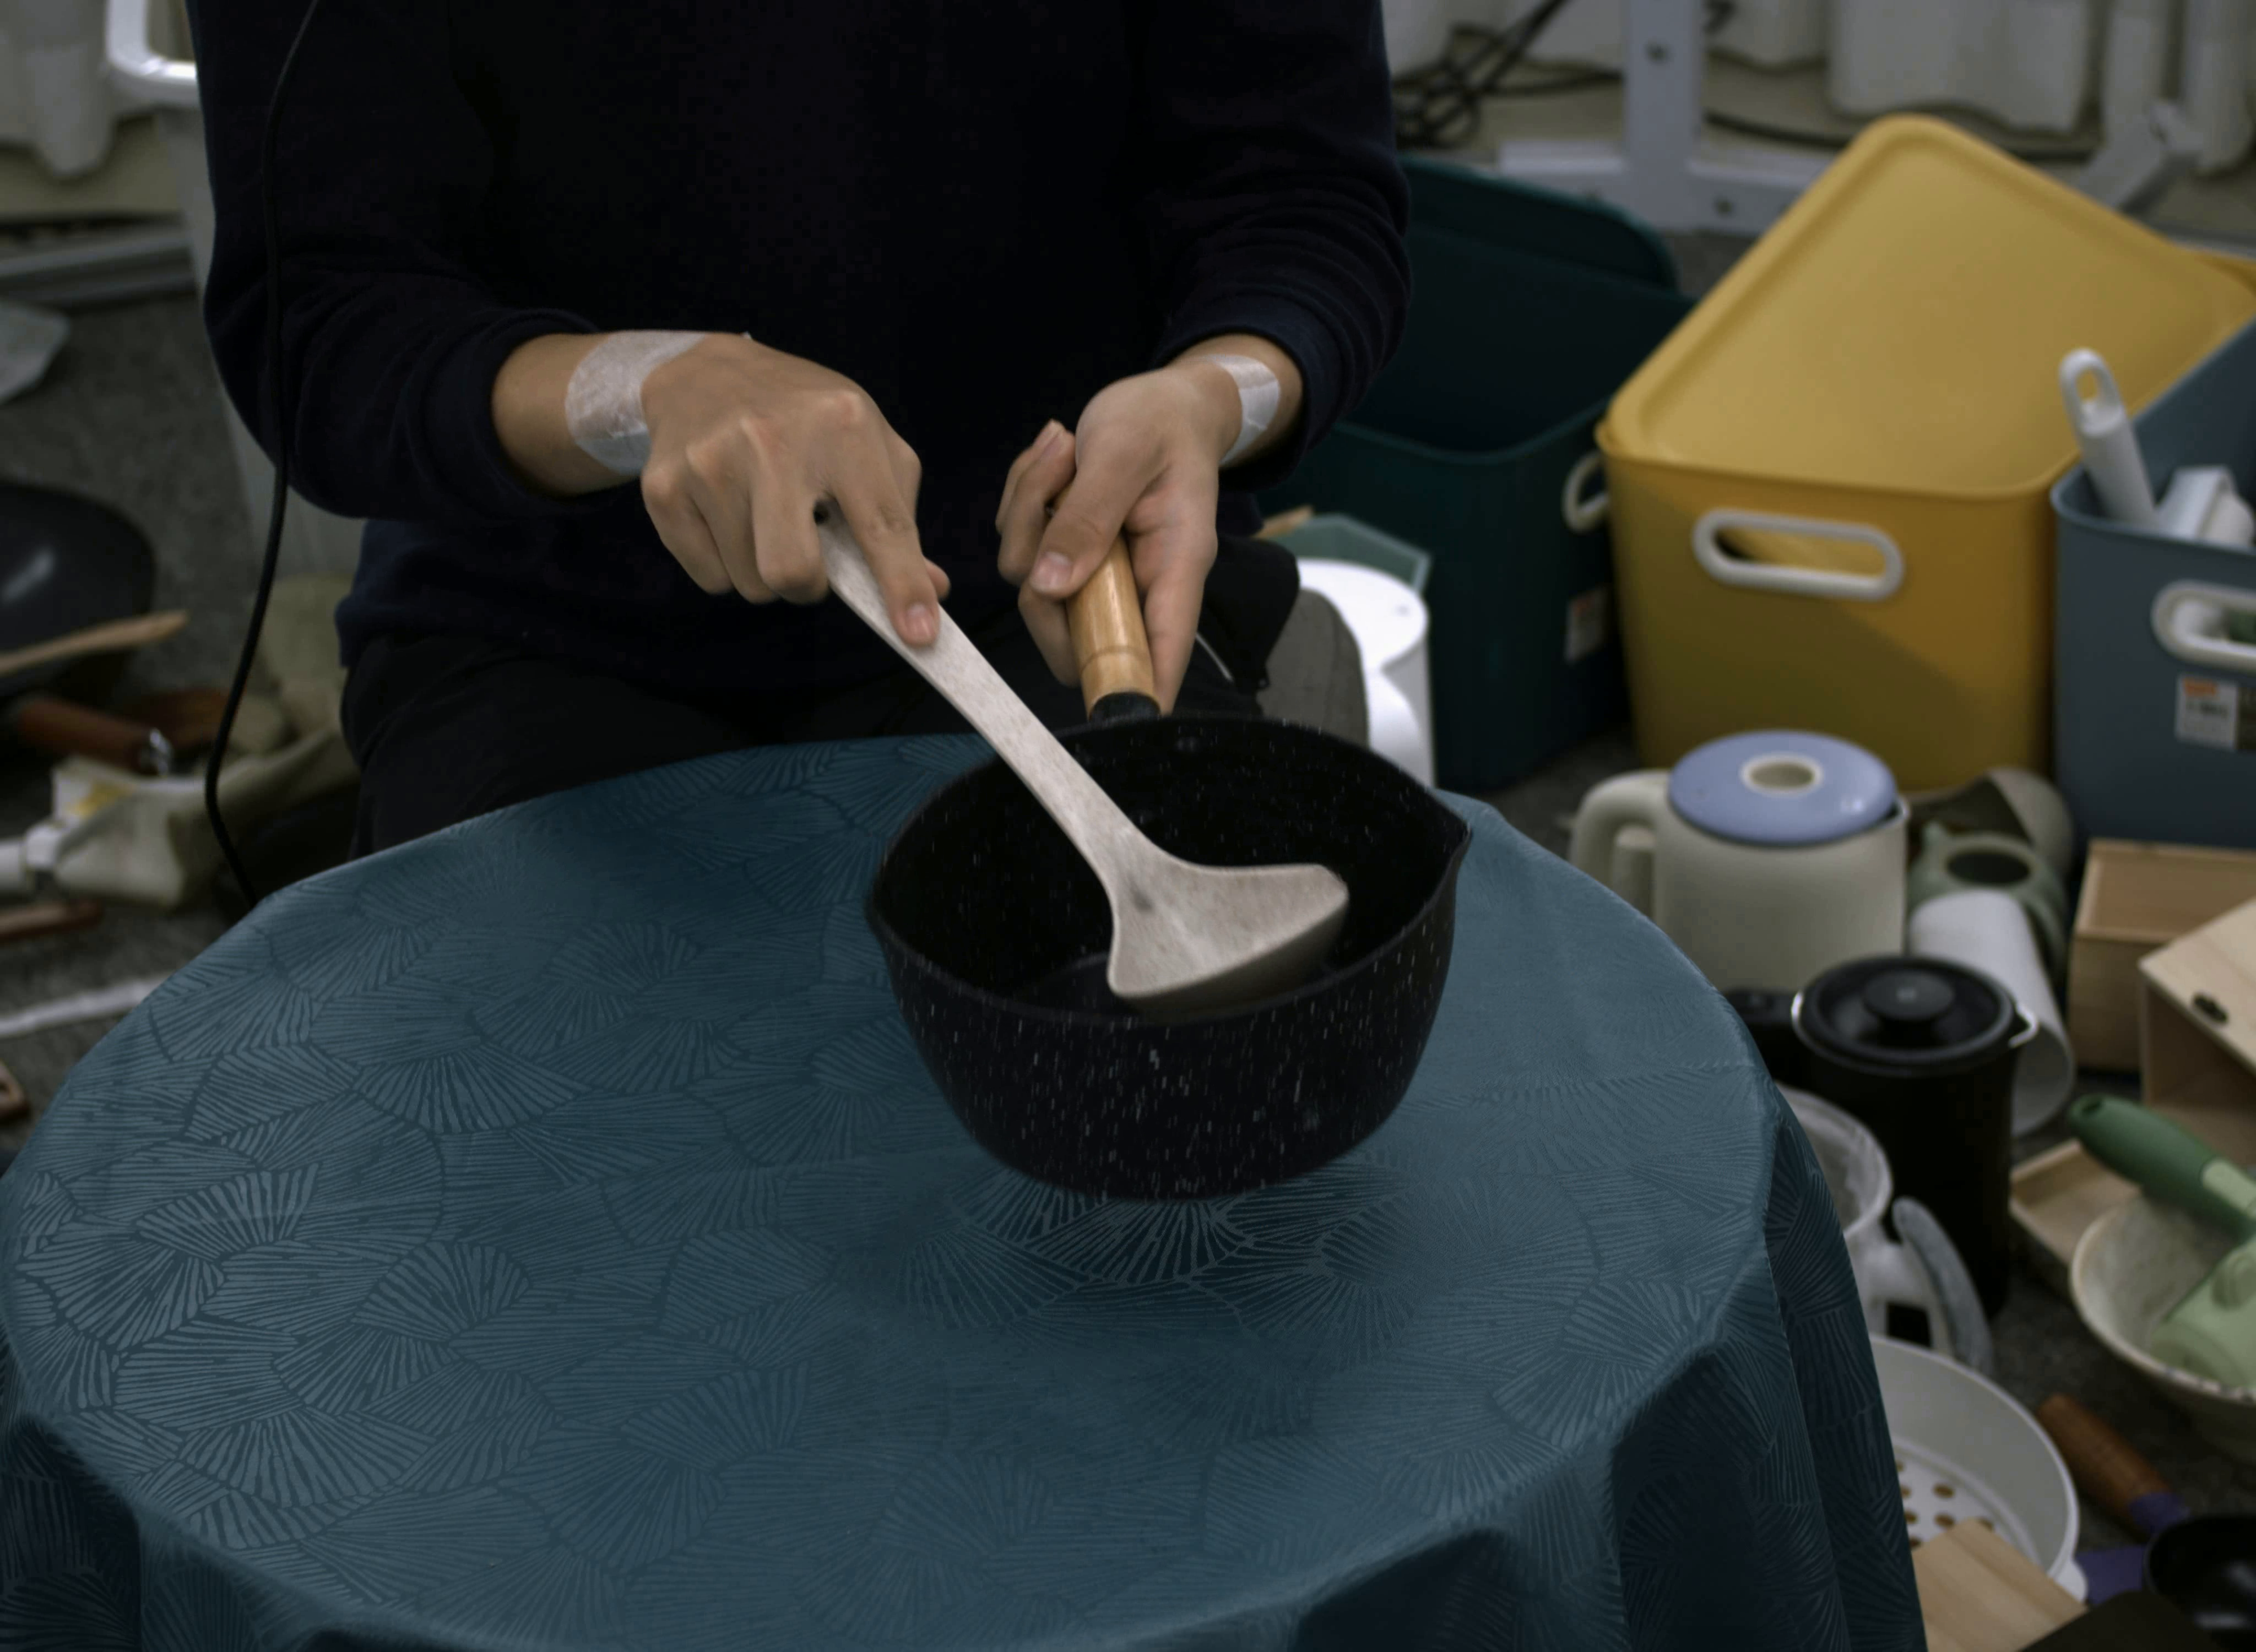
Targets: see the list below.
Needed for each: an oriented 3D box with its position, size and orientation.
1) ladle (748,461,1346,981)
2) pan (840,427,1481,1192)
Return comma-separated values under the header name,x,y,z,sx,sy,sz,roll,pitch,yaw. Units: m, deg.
name,x,y,z,sx,sy,sz,roll,pitch,yaw
ladle,-0.036,-0.045,1.854,0.090,0.068,0.276,-31,66,-25
pan,0.003,-0.009,1.884,0.207,0.107,0.348,-8,32,-5
